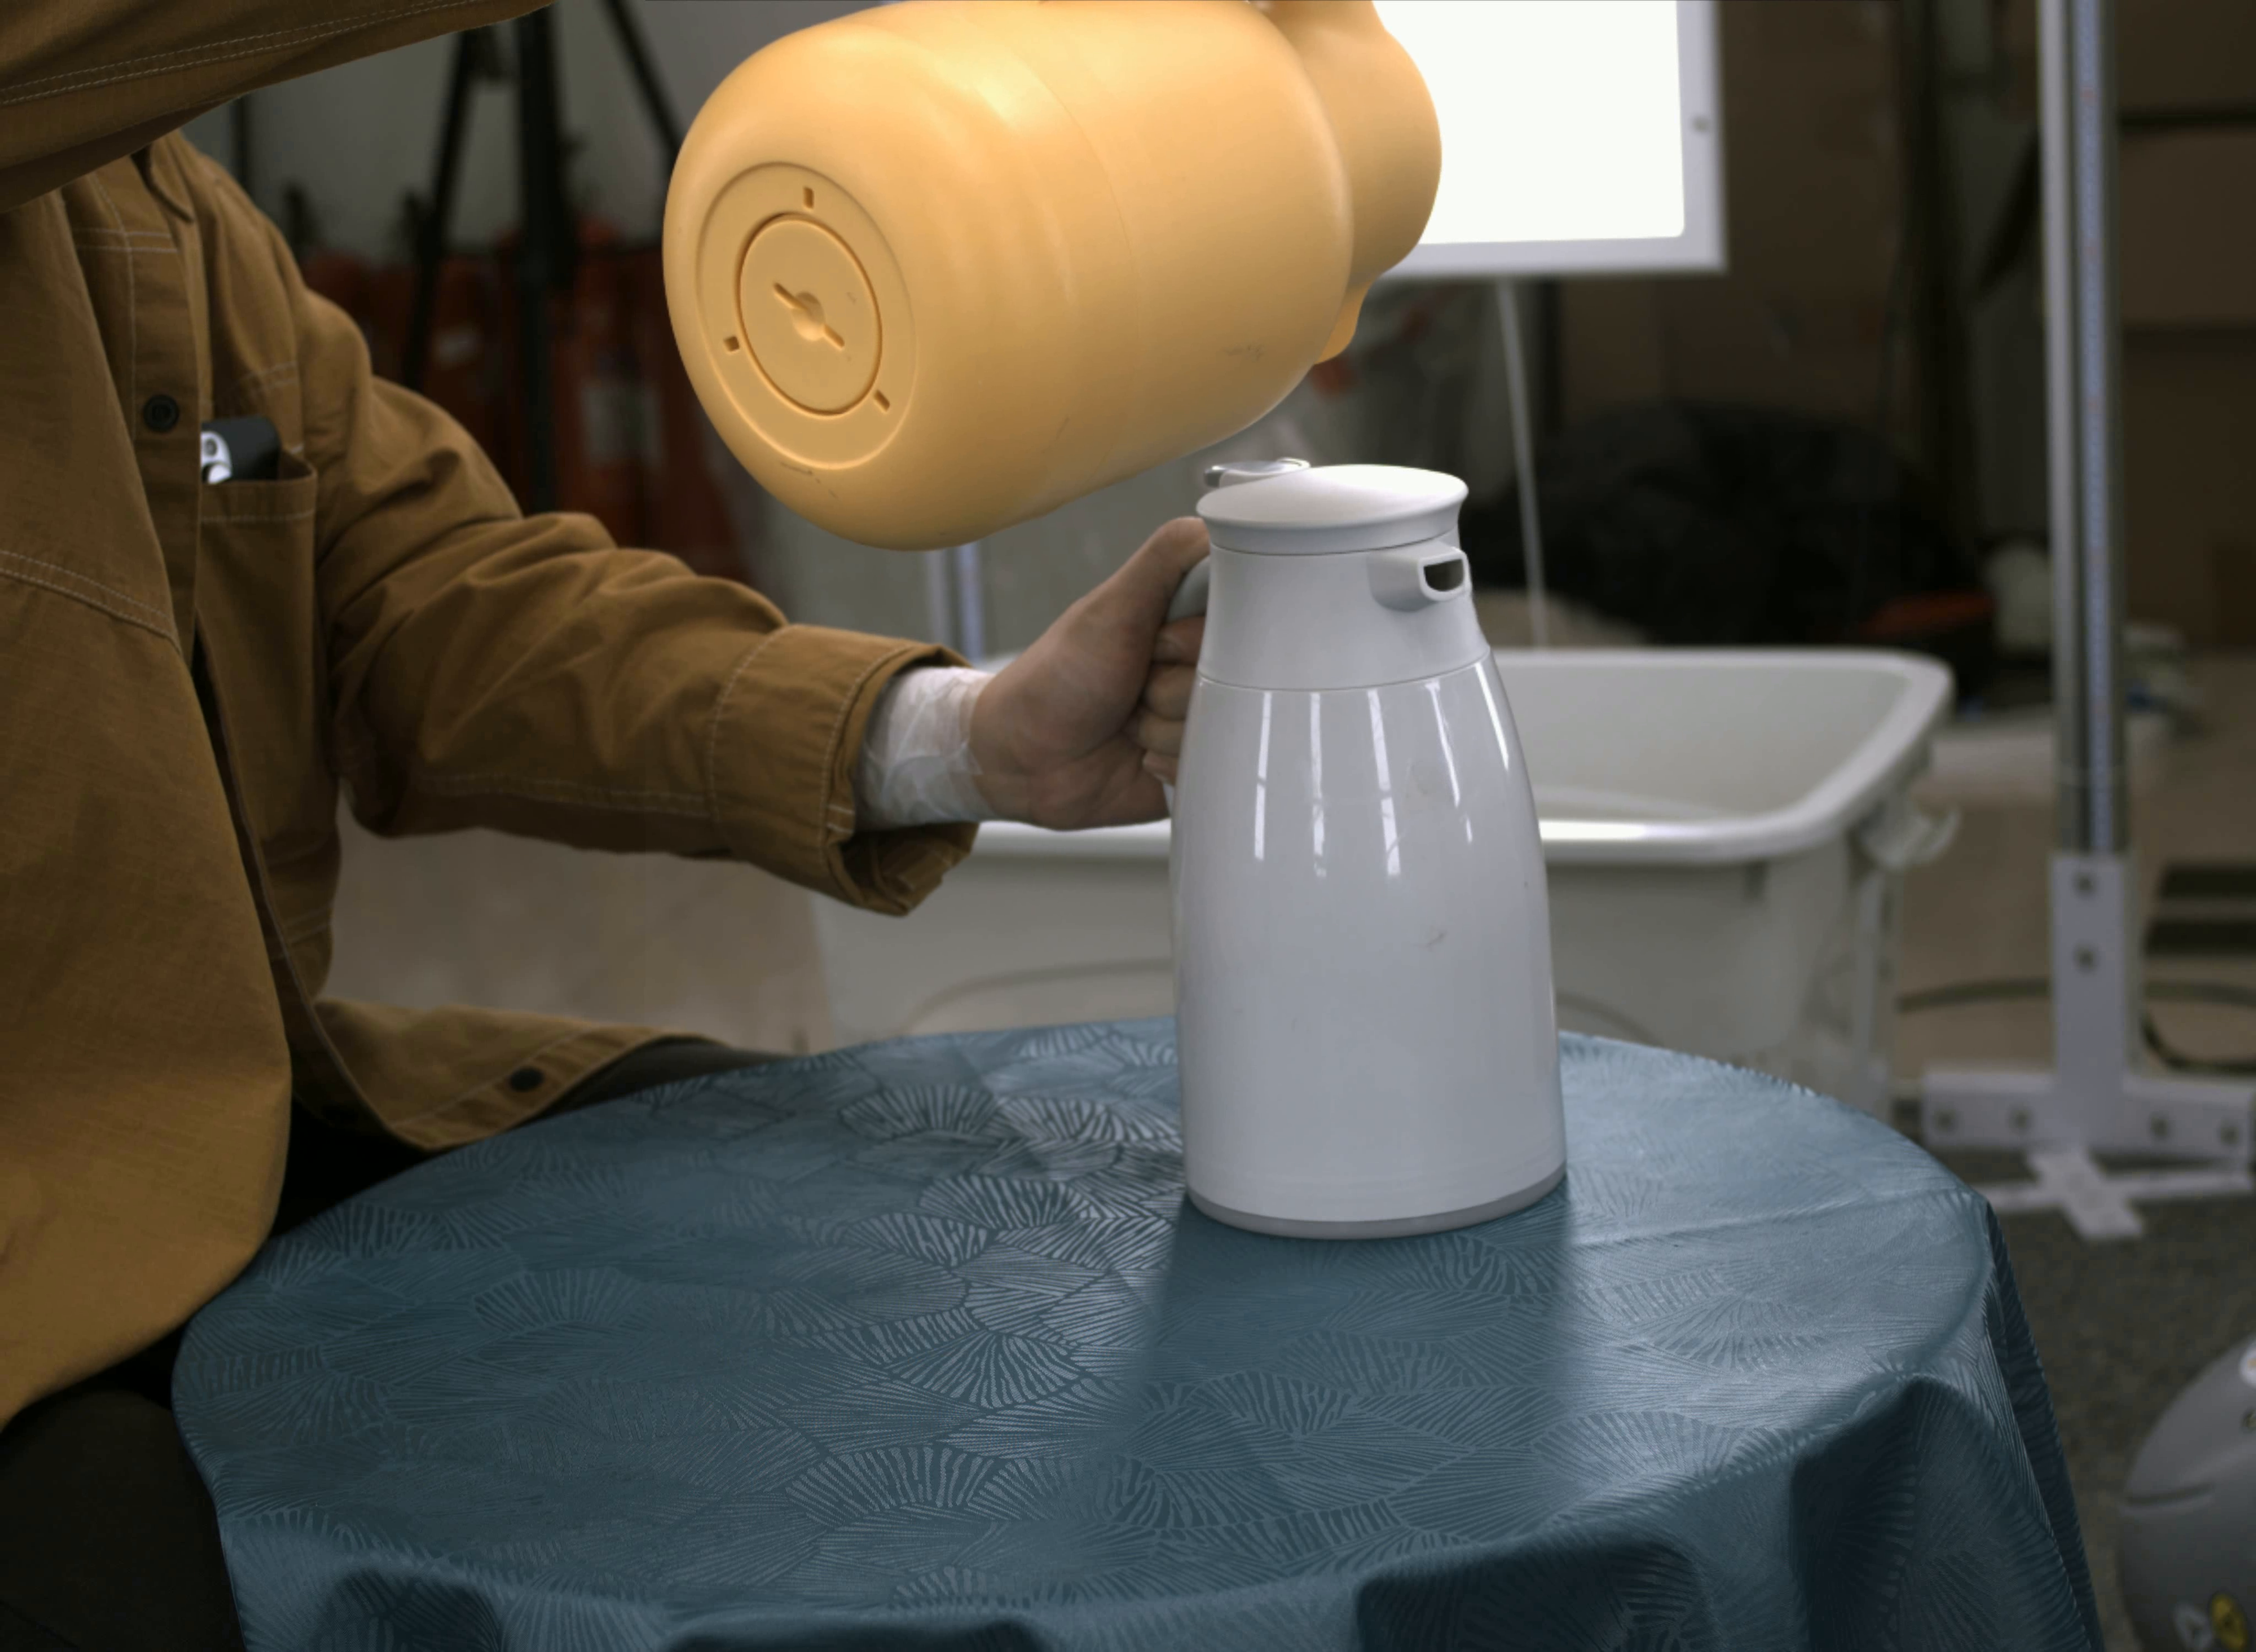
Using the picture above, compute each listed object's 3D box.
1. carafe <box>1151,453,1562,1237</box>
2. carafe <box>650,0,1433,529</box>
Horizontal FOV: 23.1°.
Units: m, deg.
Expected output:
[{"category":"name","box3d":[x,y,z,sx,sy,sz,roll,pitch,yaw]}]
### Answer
[{"category":"carafe","box3d":[0.064,-0.001,1.874,0.129,0.249,0.171,-13,16,-31]},{"category":"carafe","box3d":[-0.016,-0.212,1.715,0.167,0.203,0.254,17,26,39]}]
